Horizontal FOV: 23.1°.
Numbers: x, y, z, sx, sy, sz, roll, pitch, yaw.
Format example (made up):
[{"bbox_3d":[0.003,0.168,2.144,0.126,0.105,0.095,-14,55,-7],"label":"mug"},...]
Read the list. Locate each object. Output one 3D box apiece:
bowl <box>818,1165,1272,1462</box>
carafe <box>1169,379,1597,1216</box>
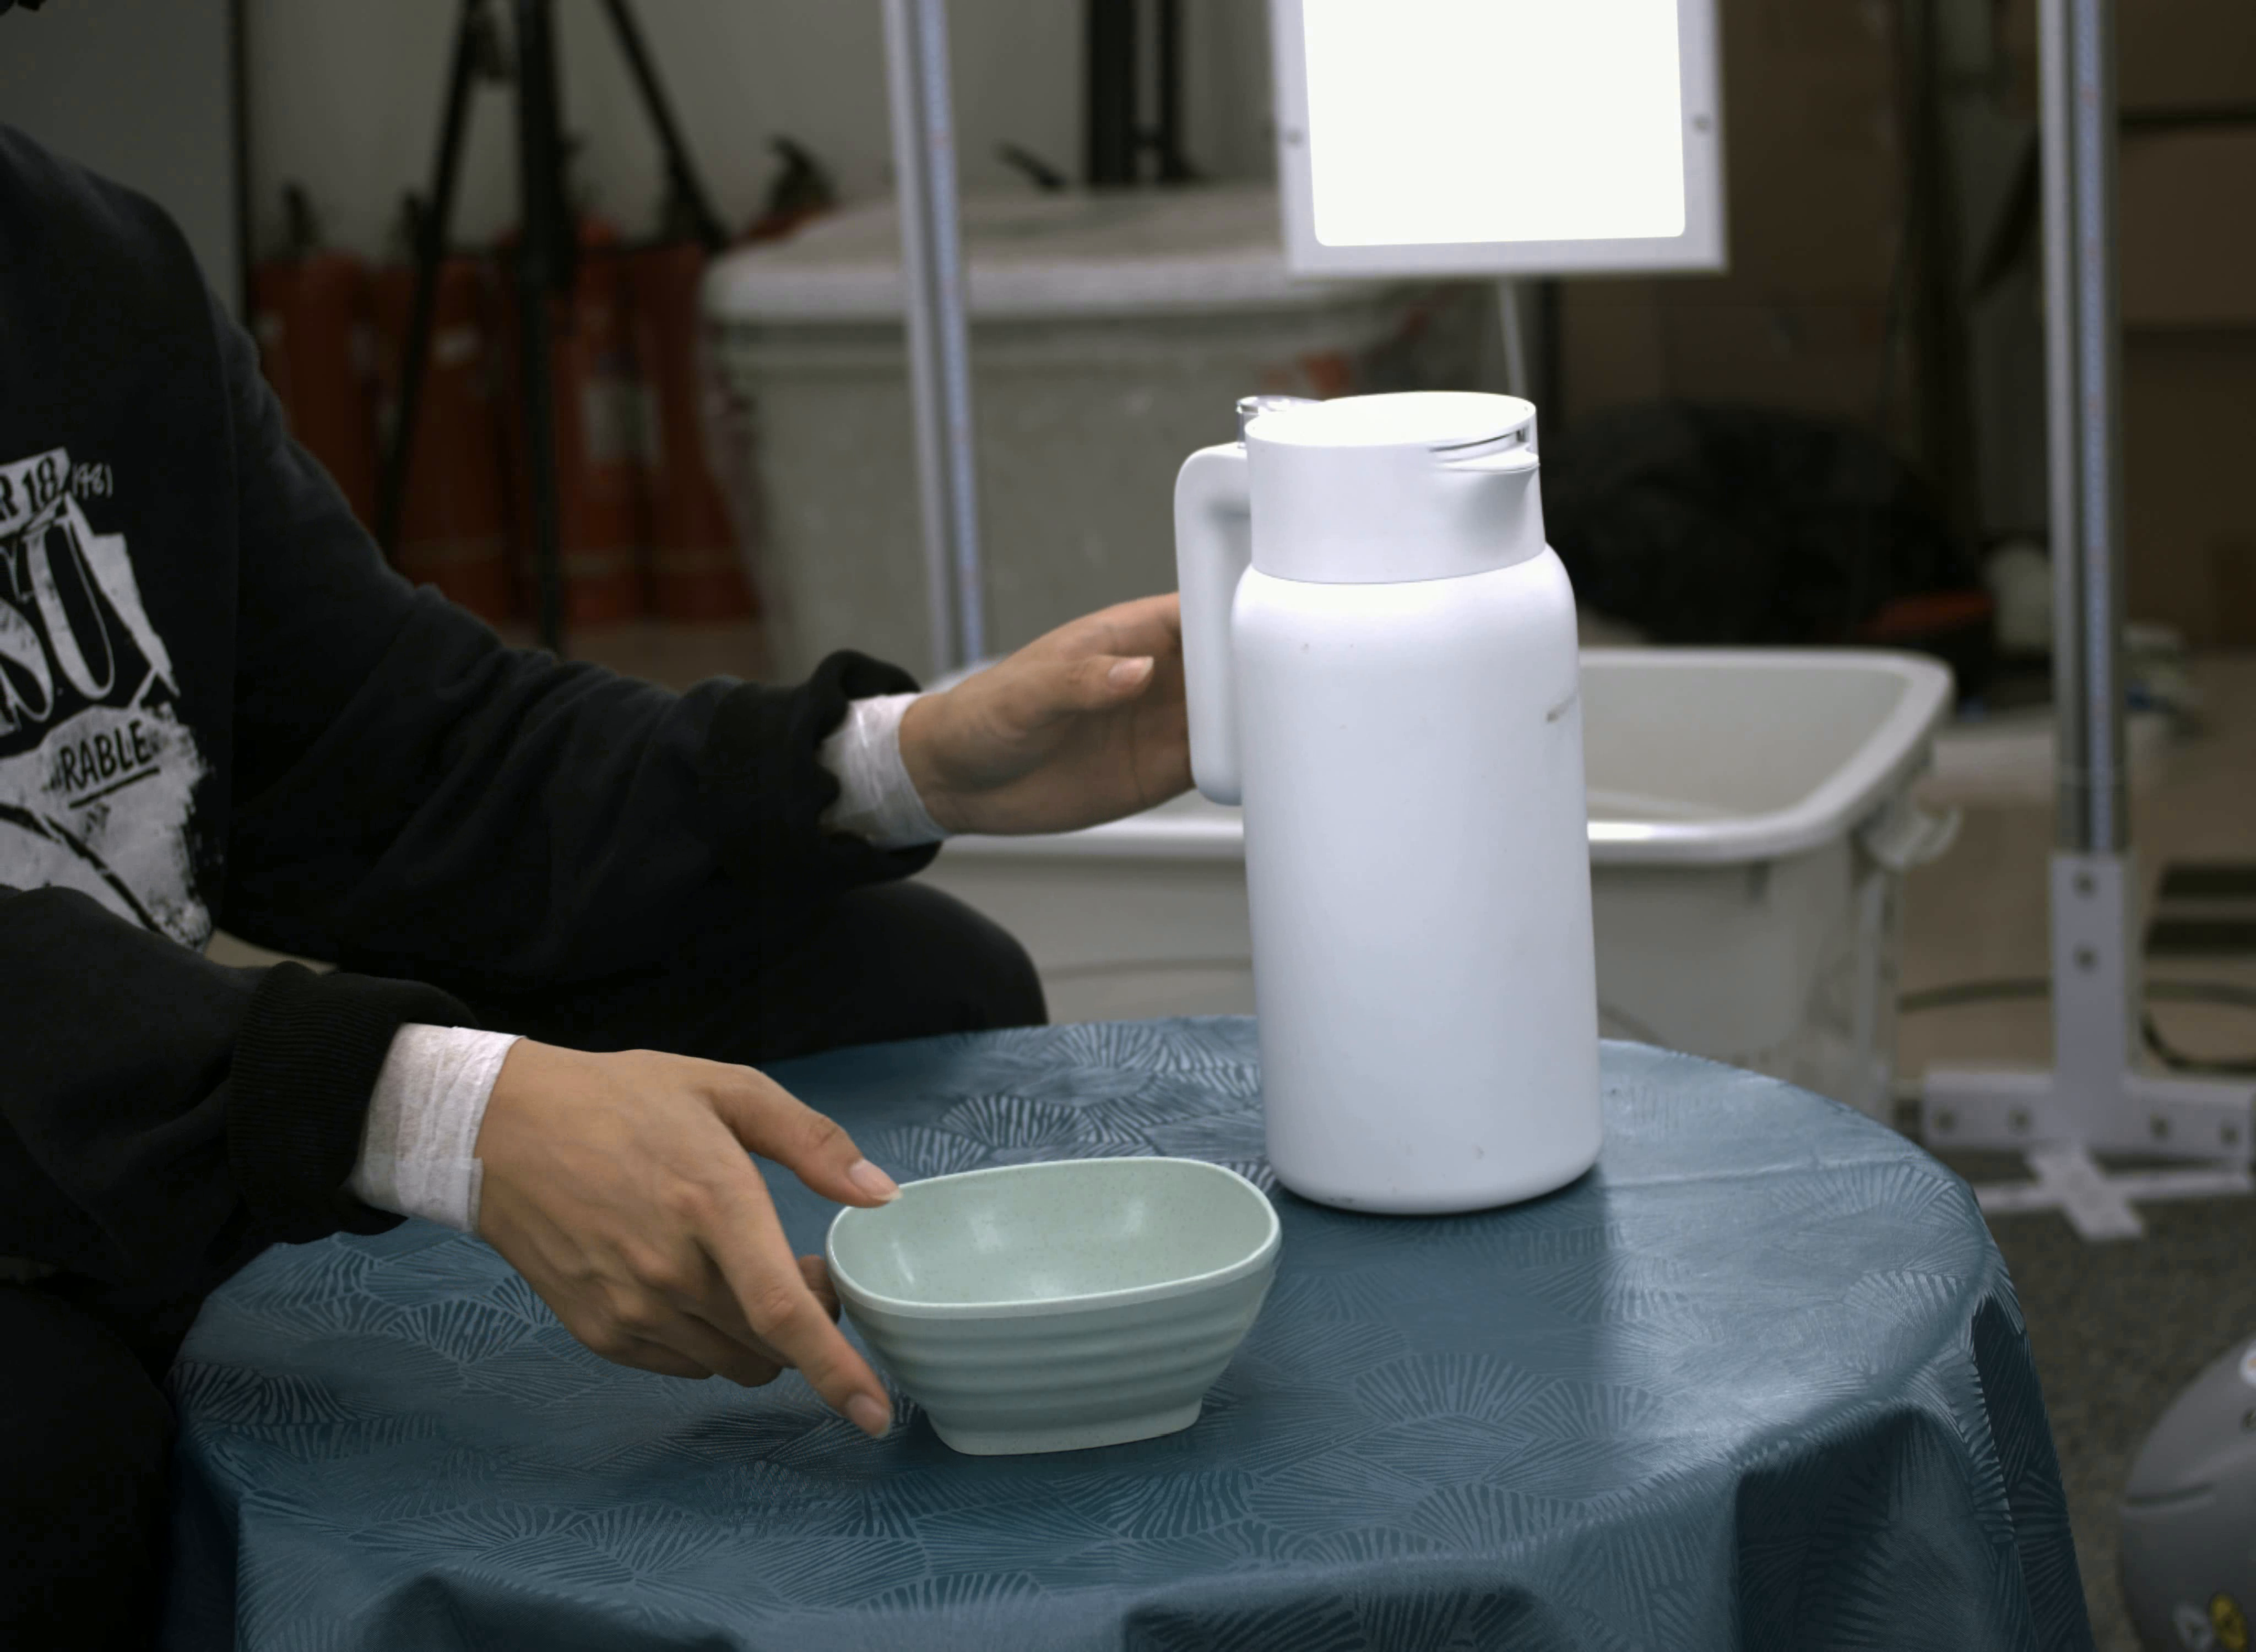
[{"bbox_3d":[-0.024,0.153,1.690,0.151,0.059,0.151,-5,14,0],"label":"bowl"},{"bbox_3d":[0.084,-0.012,1.872,0.121,0.270,0.176,-17,19,-36],"label":"carafe"}]
